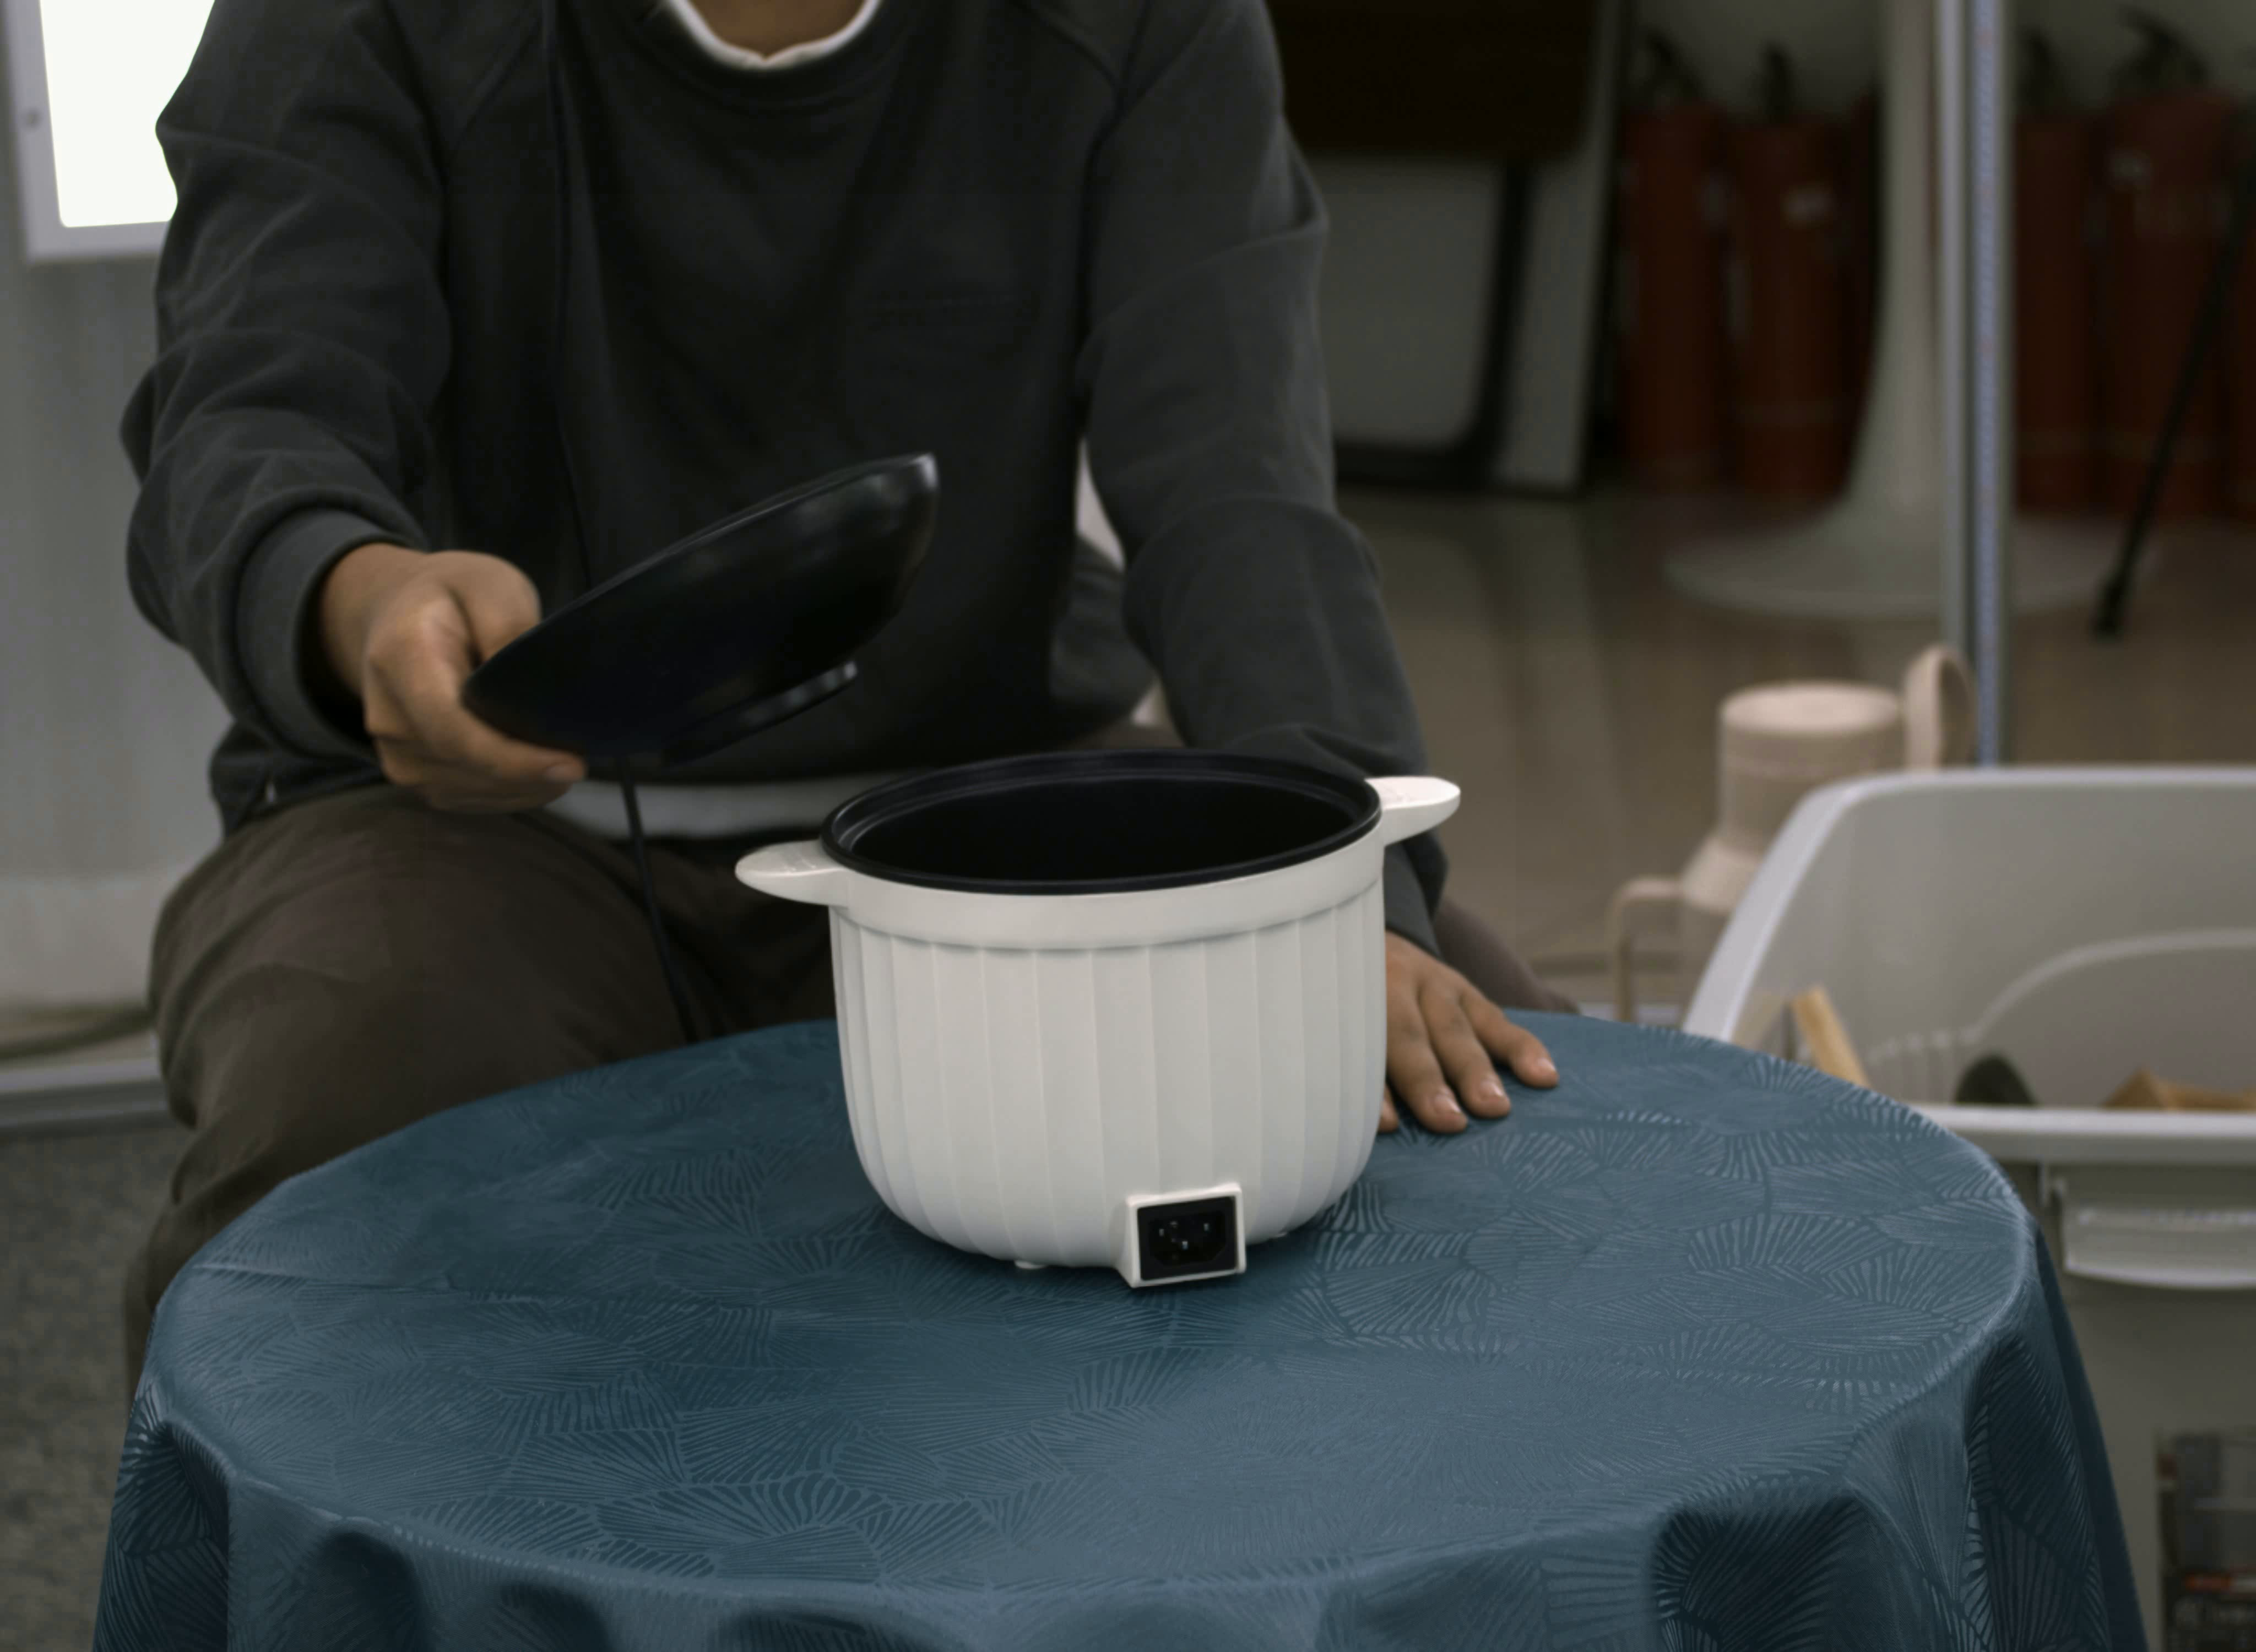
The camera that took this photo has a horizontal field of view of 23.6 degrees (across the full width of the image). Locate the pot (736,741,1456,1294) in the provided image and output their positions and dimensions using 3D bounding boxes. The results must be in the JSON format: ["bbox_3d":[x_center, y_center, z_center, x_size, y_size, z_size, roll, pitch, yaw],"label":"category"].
[{"bbox_3d":[-0.008,0.059,1.740,0.236,0.144,0.192,-6,17,-13],"label":"pot"}]

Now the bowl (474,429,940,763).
[{"bbox_3d":[-0.126,-0.064,1.714,0.169,0.067,0.137,-27,5,6],"label":"bowl"}]
